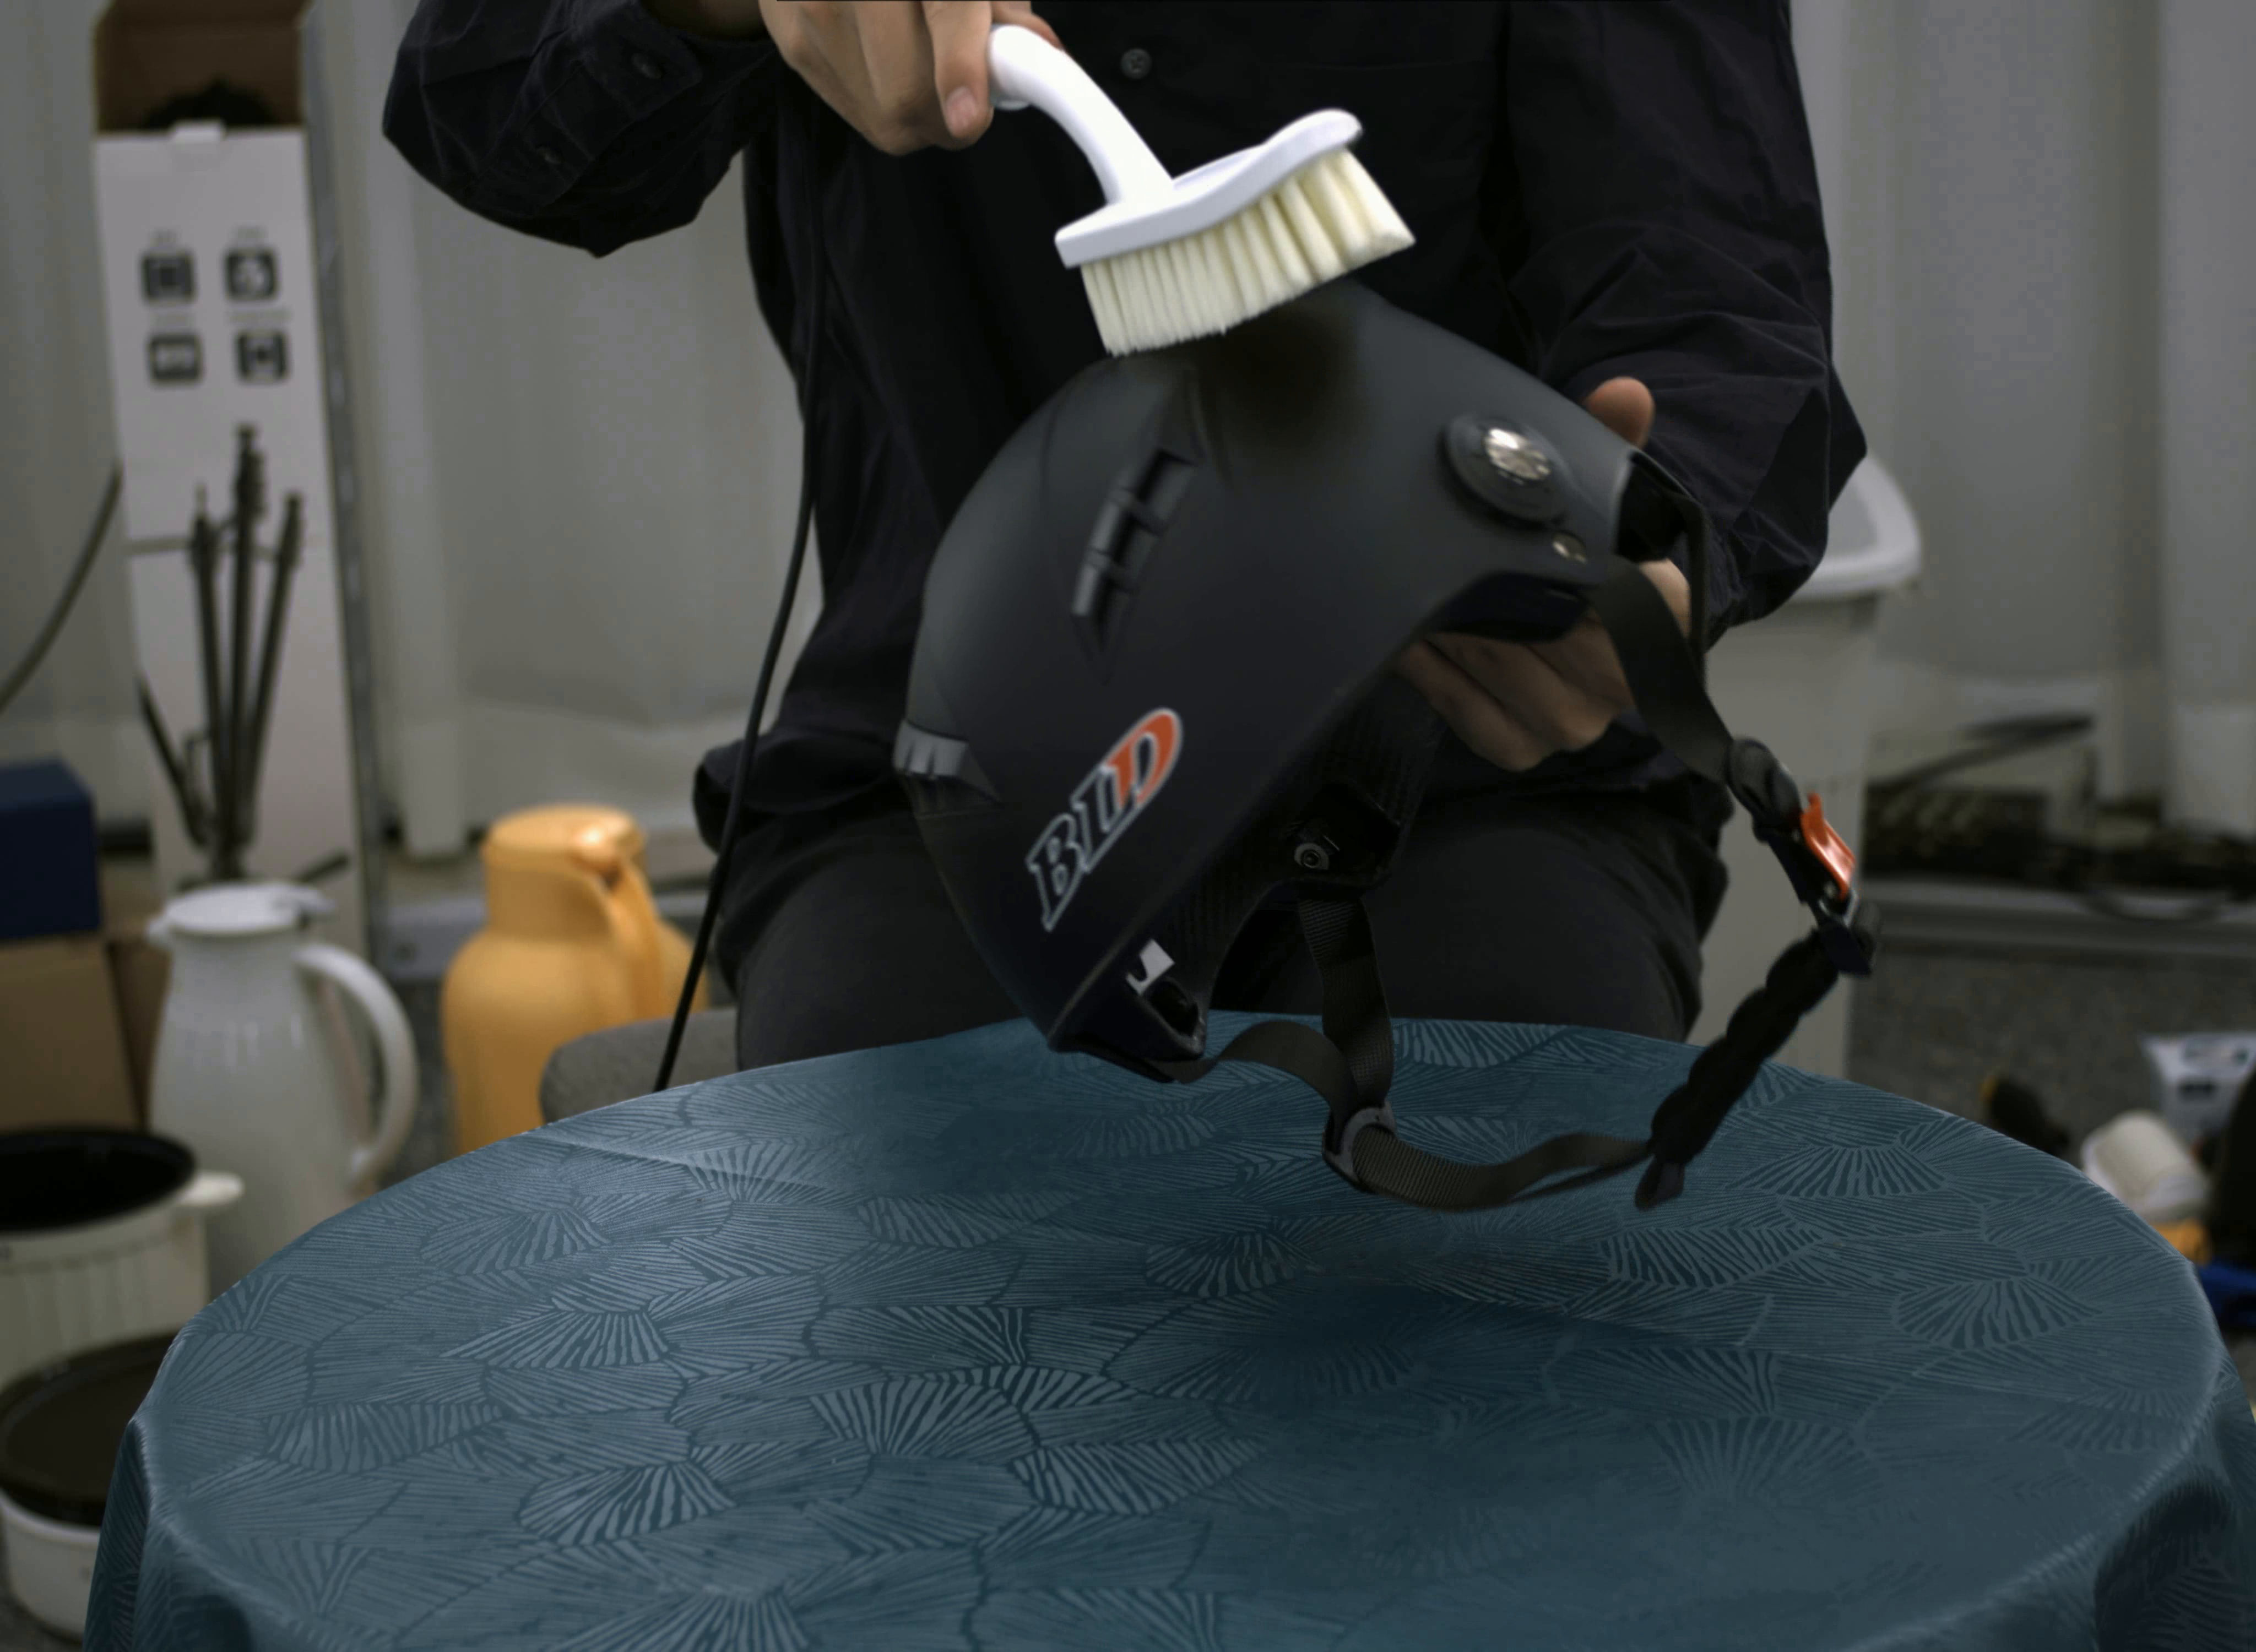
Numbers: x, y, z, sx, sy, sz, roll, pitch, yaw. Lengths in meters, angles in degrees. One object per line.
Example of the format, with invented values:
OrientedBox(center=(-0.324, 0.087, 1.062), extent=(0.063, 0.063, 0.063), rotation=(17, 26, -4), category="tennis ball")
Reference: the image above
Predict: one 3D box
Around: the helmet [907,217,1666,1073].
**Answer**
OrientedBox(center=(0.031, -0.063, 1.575), extent=(0.173, 0.245, 0.278), rotation=(42, 30, 6), category="helmet")

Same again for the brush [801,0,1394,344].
OrientedBox(center=(-0.010, -0.187, 1.612), extent=(0.082, 0.084, 0.328), rotation=(13, 5, -29), category="brush")
